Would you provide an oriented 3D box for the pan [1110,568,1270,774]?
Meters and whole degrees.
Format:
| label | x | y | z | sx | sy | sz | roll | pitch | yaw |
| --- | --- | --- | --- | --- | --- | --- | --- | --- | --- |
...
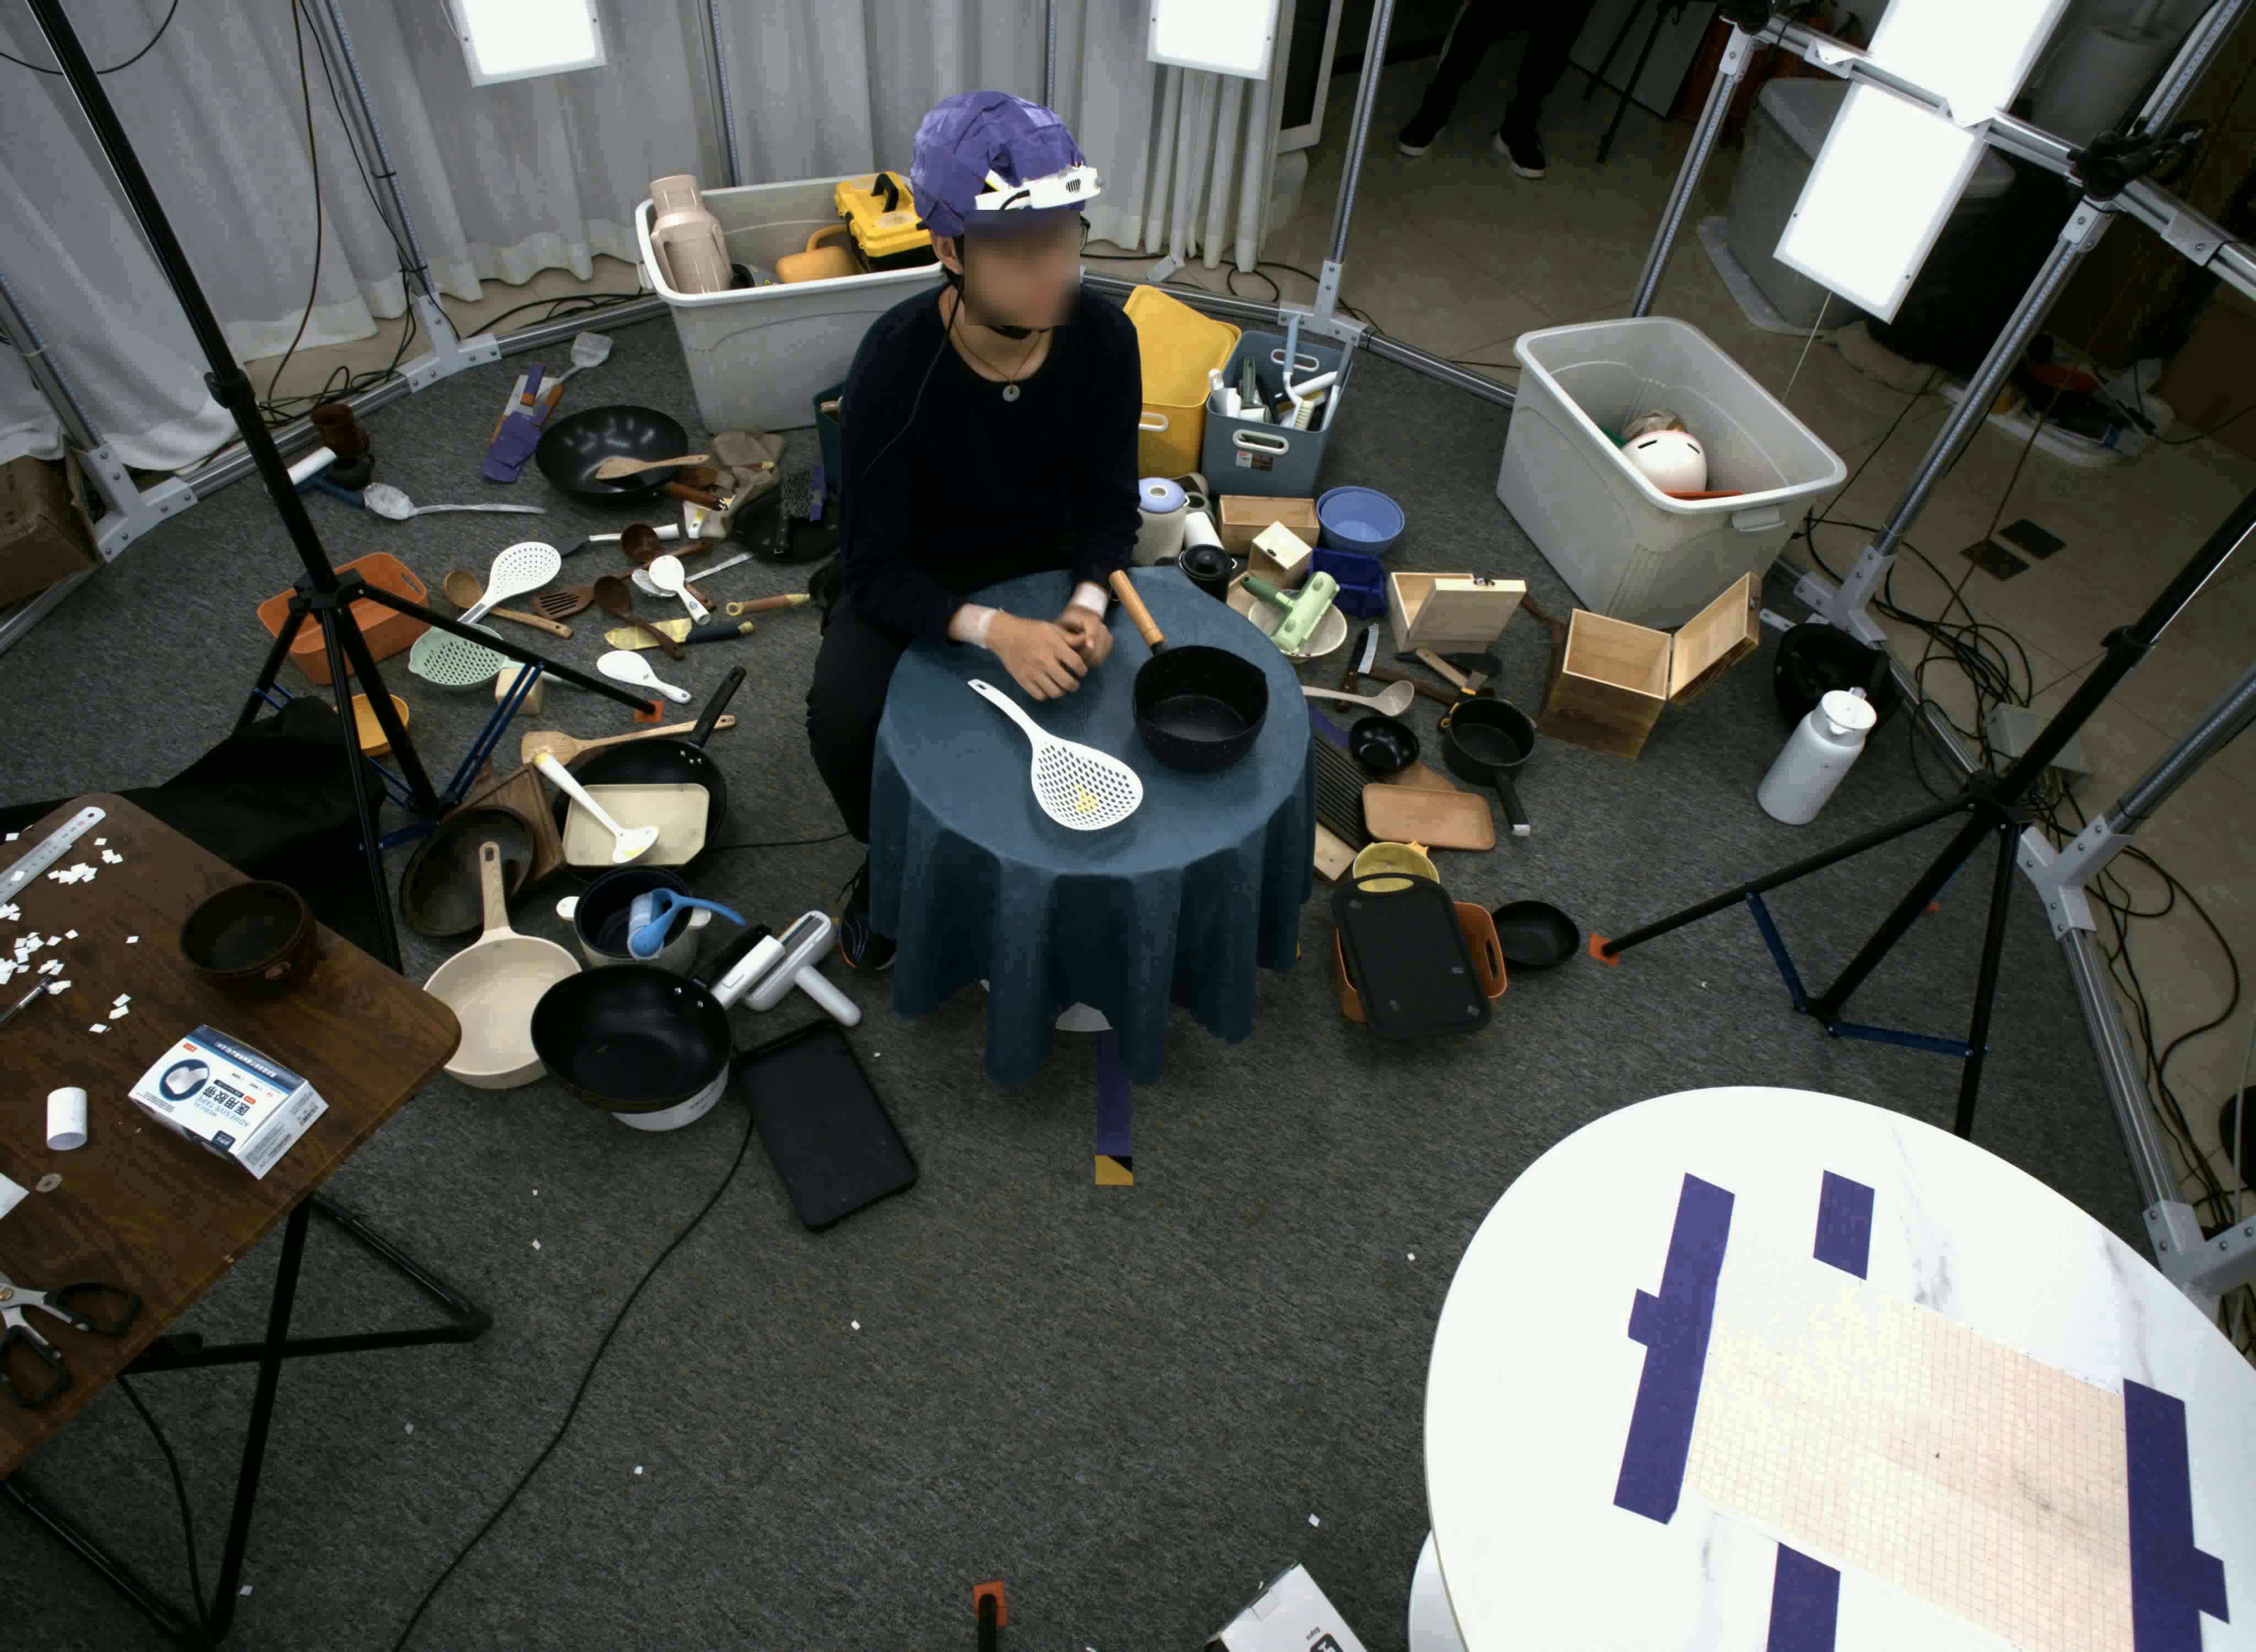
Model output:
| label | x | y | z | sx | sy | sz | roll | pitch | yaw |
| --- | --- | --- | --- | --- | --- | --- | --- | --- | --- |
| pan | 0.058 | -0.217 | 1.791 | 0.208 | 0.105 | 0.350 | -22 | 55 | -19 |

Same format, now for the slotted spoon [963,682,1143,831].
| label | x | y | z | sx | sy | sz | roll | pitch | yaw |
| --- | --- | --- | --- | --- | --- | --- | --- | --- | --- |
| slotted spoon | -0.117 | -0.107 | 1.725 | 0.137 | 0.049 | 0.354 | -29 | 58 | -24 |
